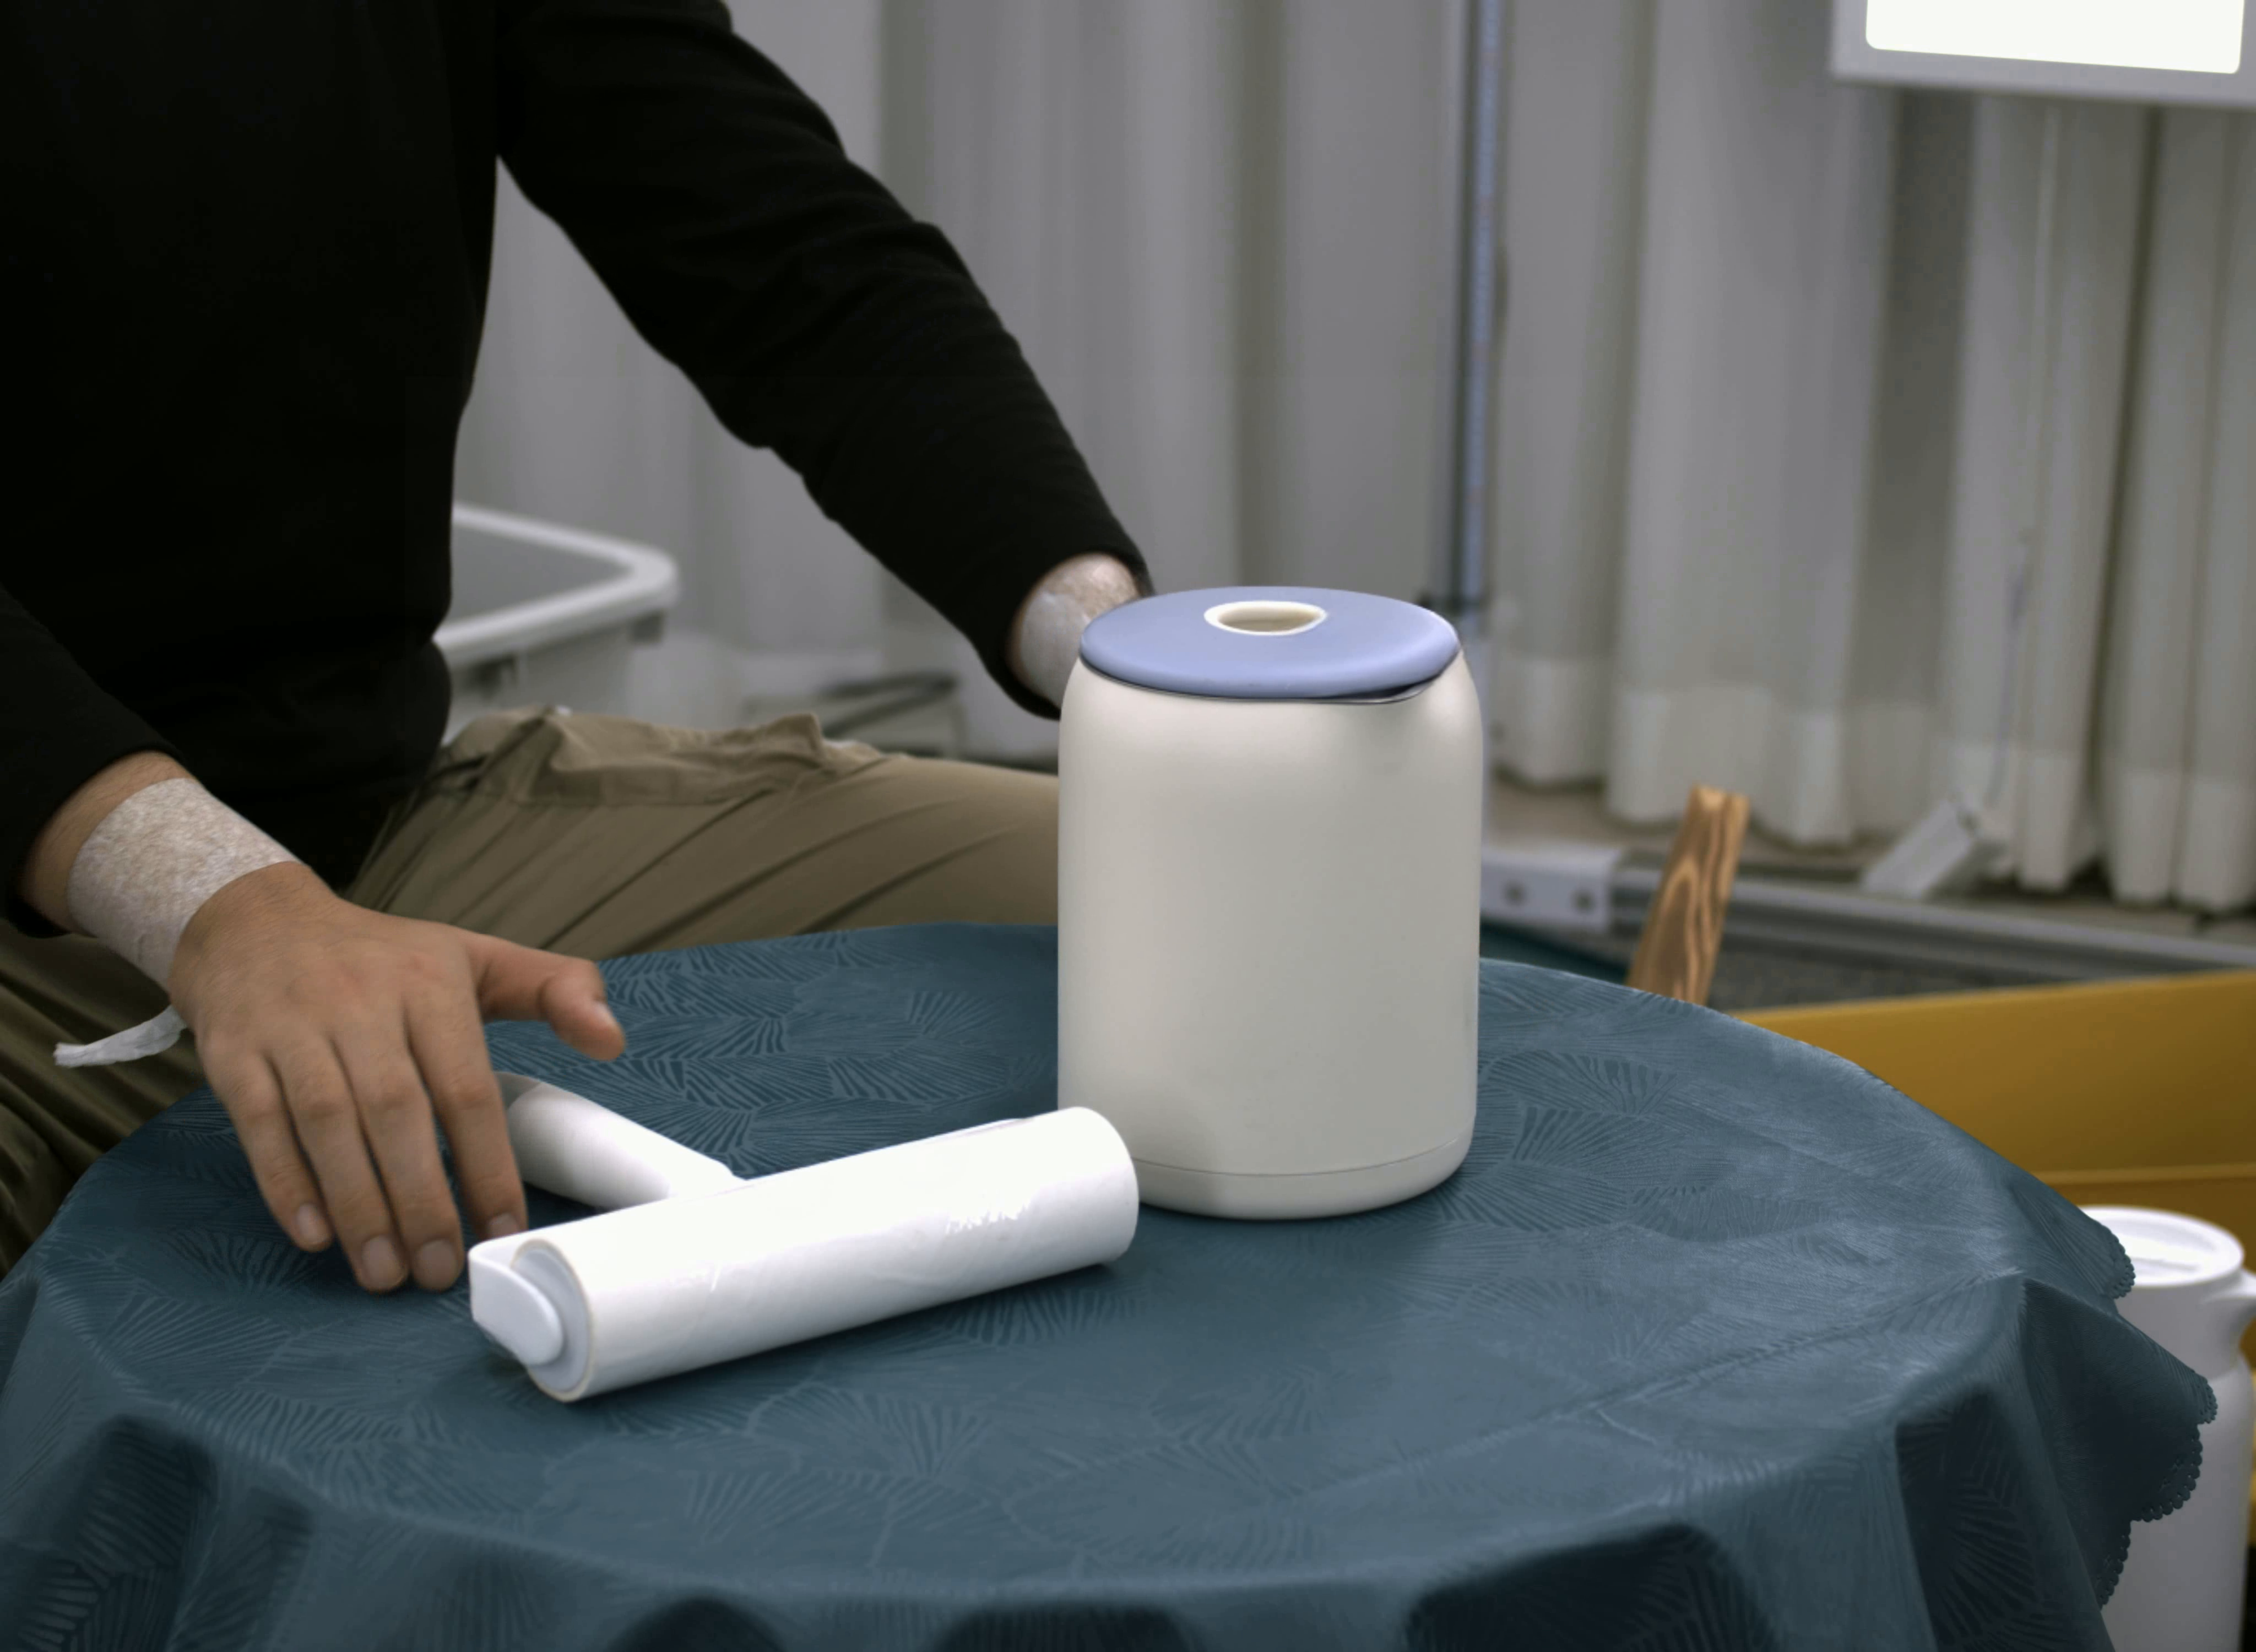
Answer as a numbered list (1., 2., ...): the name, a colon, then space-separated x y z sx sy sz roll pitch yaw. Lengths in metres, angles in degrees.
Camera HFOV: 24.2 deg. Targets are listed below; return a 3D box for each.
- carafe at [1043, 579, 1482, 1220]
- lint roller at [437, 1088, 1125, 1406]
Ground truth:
1. carafe: 0.030 0.016 1.646 0.133 0.184 0.188 -9 16 -32
2. lint roller: -0.142 0.104 1.568 0.204 0.049 0.222 -13 19 -37
